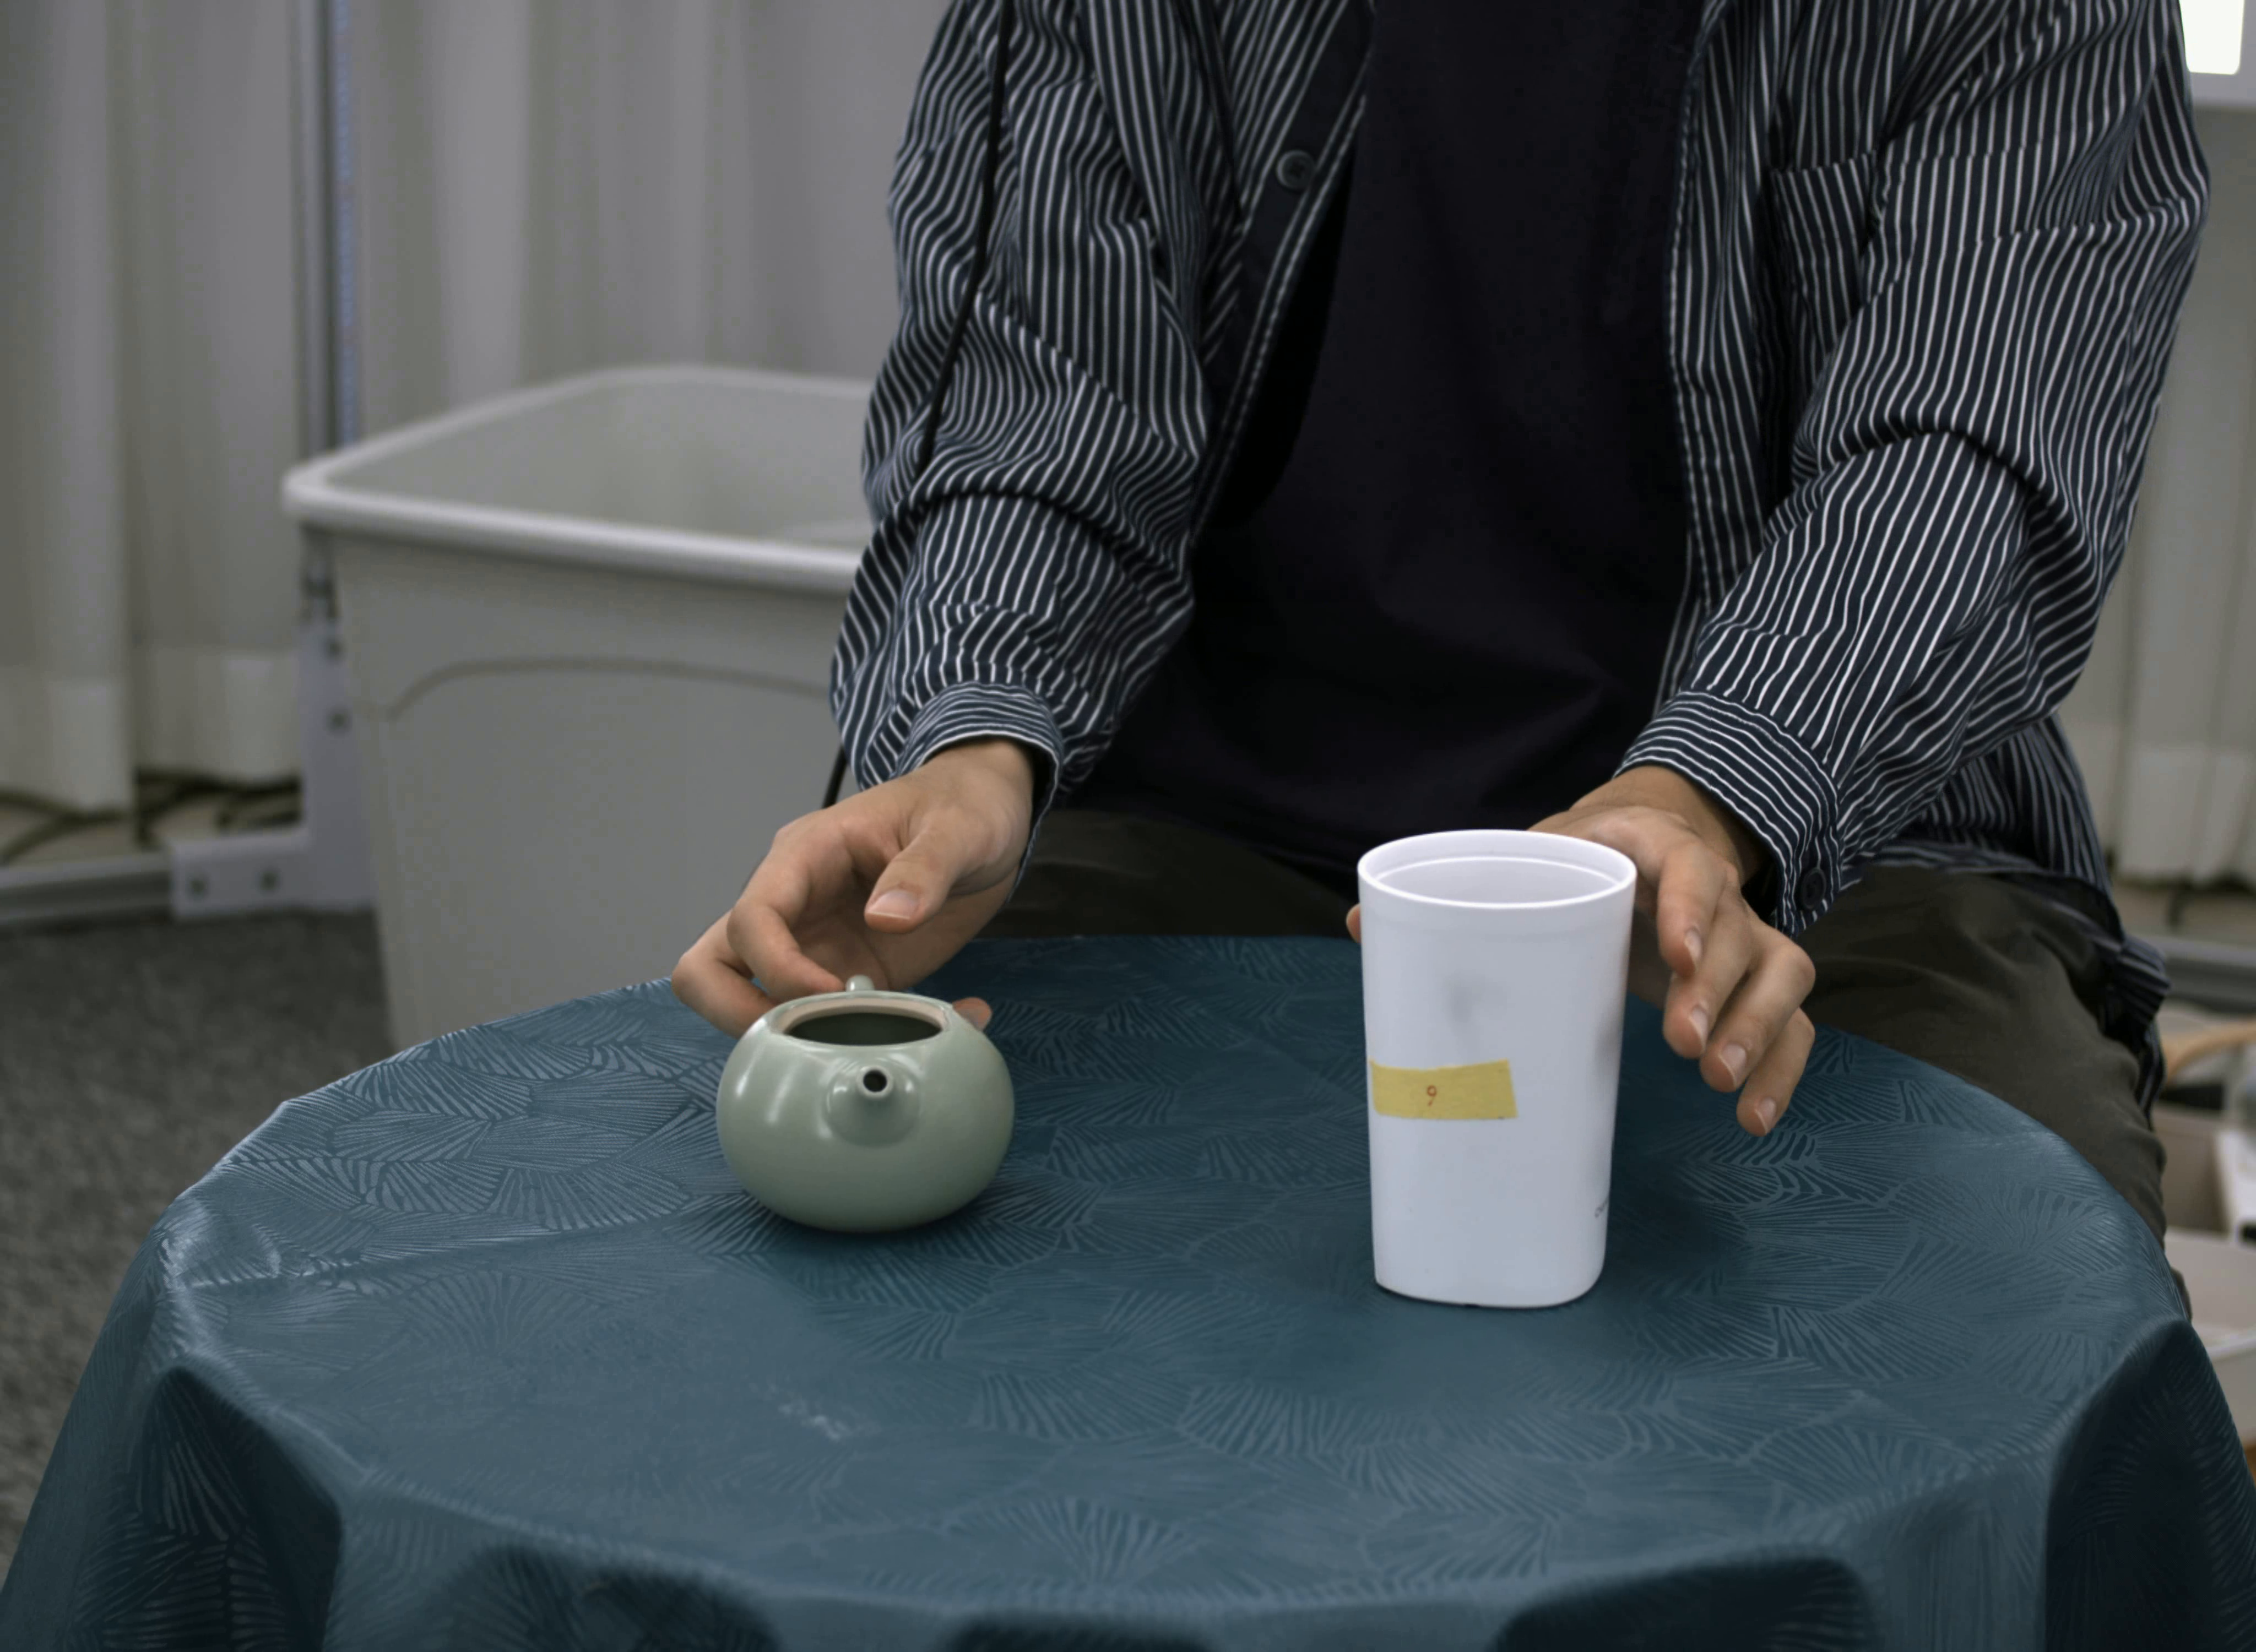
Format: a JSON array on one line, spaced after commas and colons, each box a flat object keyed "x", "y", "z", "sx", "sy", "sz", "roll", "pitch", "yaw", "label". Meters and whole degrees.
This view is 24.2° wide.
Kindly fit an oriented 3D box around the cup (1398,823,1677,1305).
[{"x": 0.119, "y": 0.070, "z": 1.540, "sx": 0.081, "sy": 0.126, "sz": 0.081, "roll": 0, "pitch": 16, "yaw": 0, "label": "cup"}]

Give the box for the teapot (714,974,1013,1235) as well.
[{"x": -0.081, "y": 0.085, "z": 1.615, "sx": 0.091, "sy": 0.061, "sz": 0.128, "roll": -2, "pitch": 15, "yaw": -1, "label": "teapot"}]
